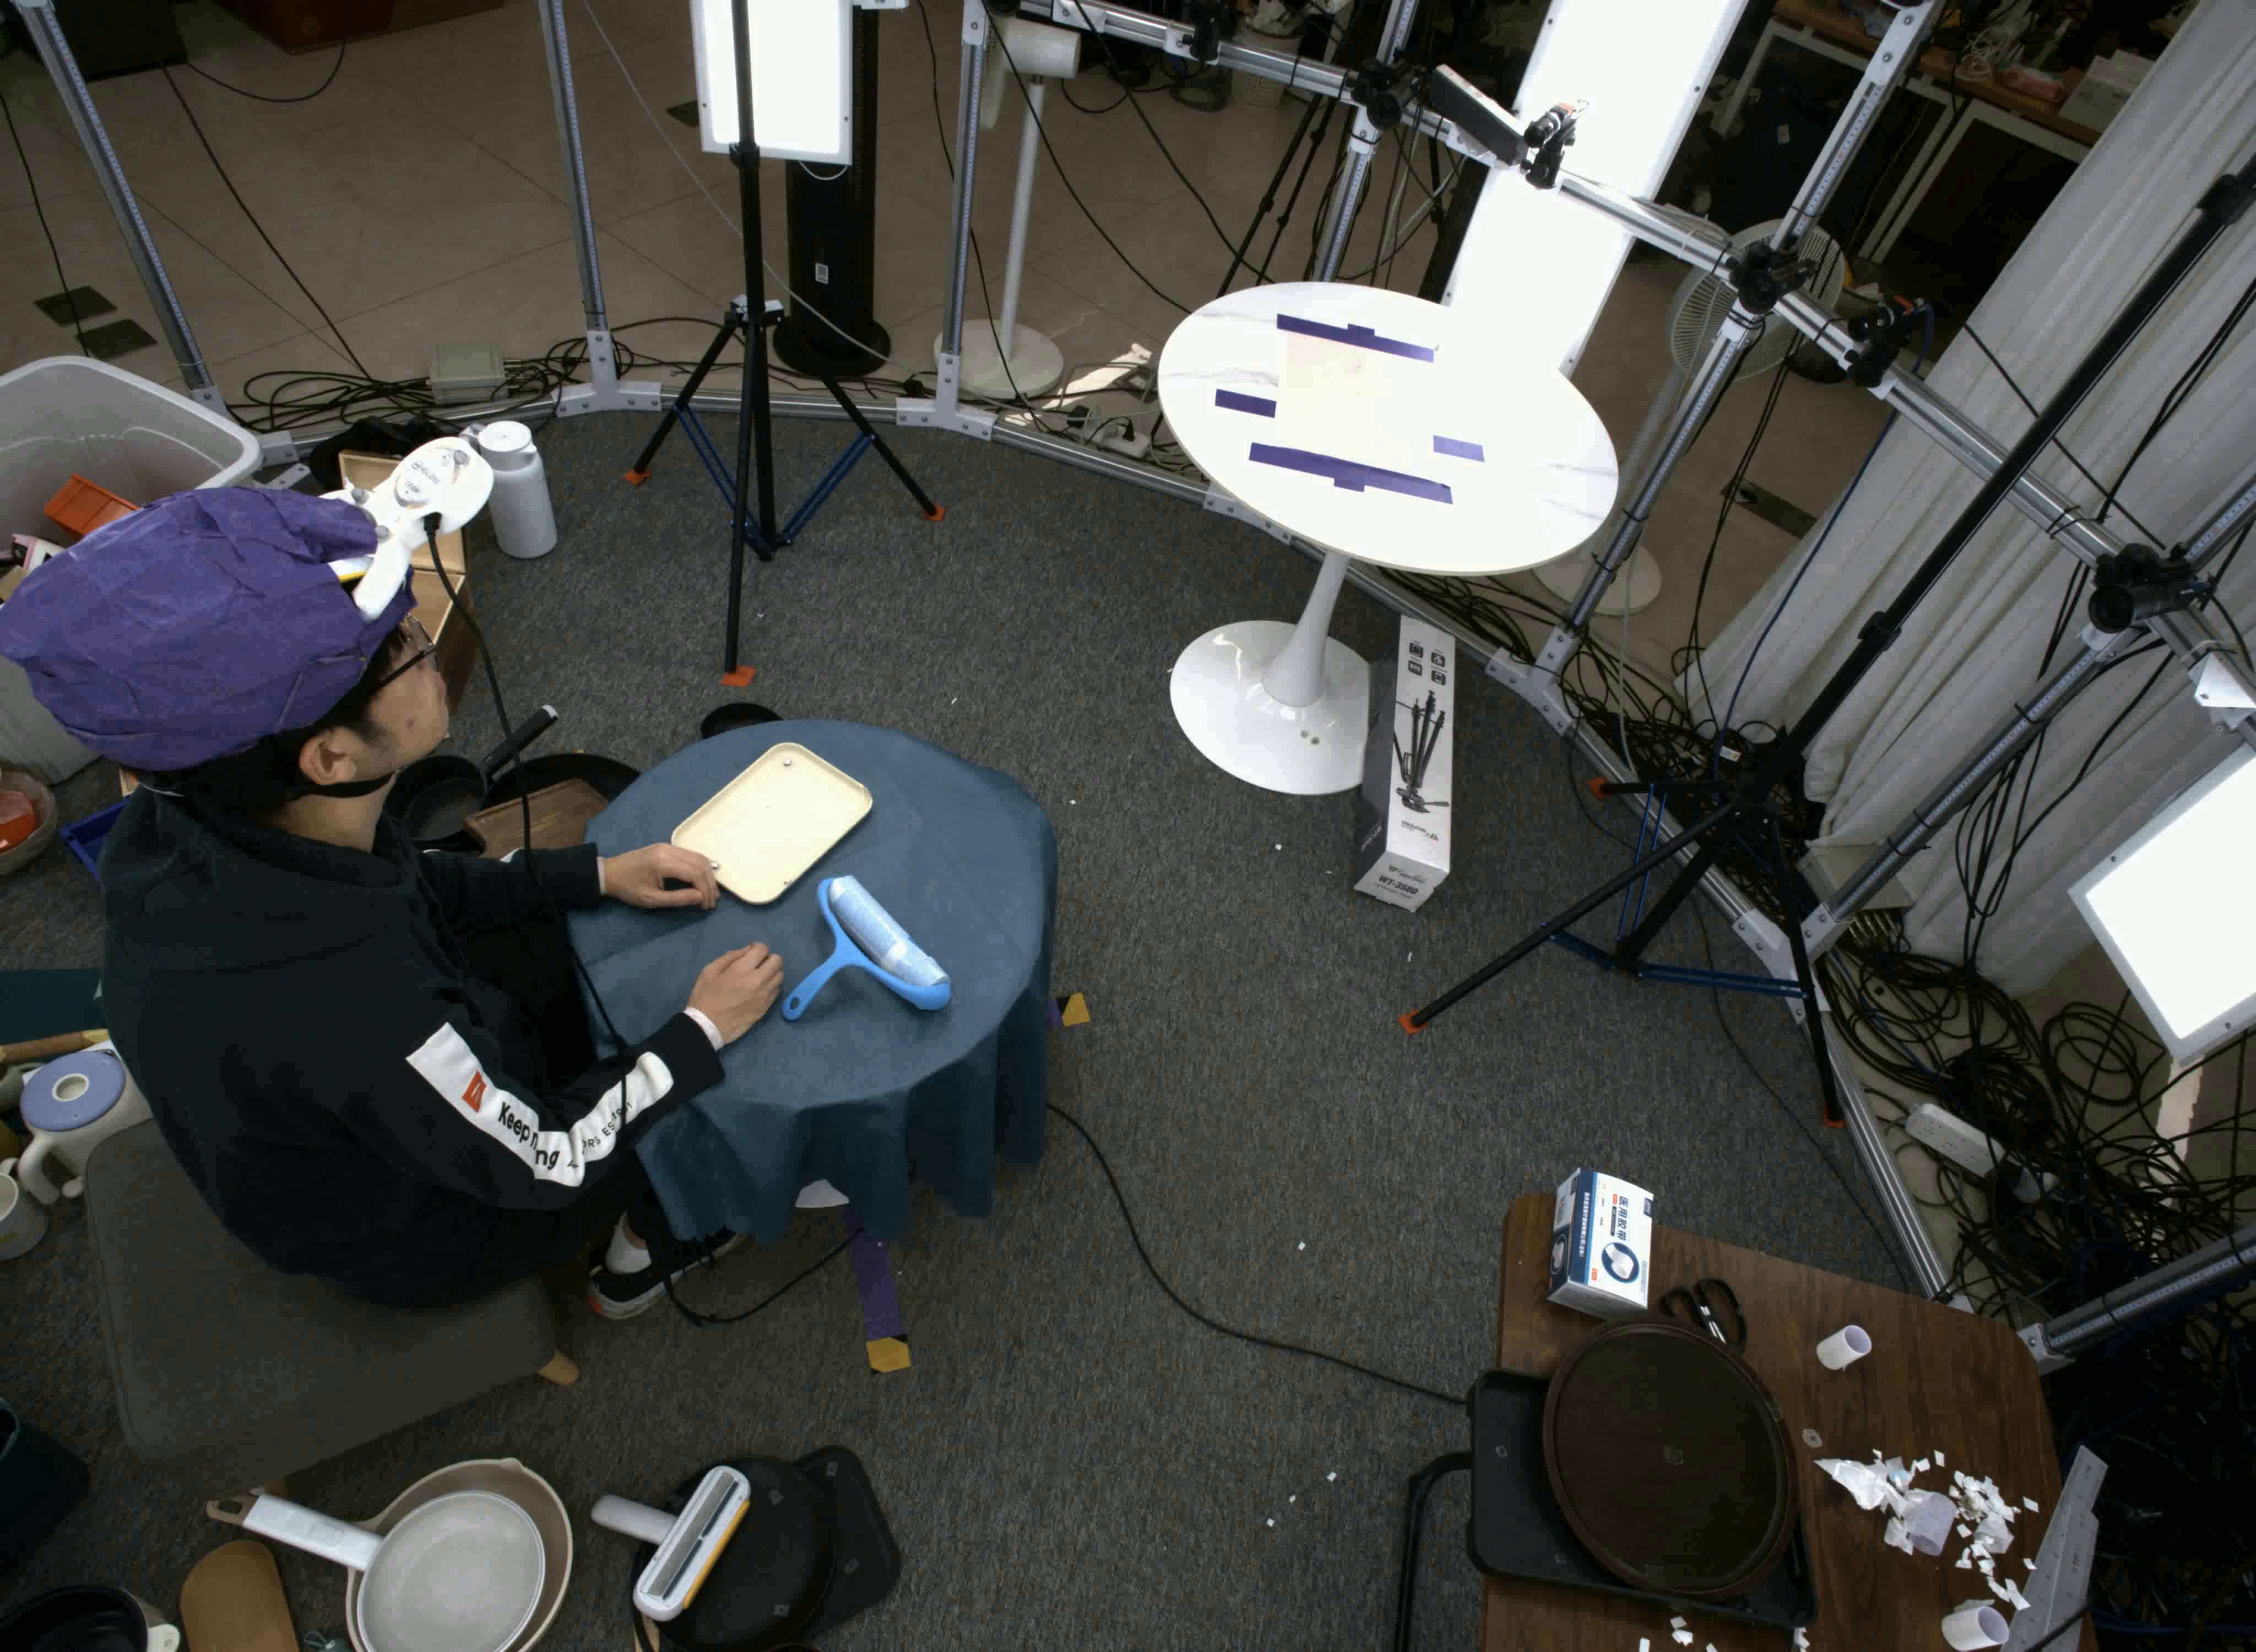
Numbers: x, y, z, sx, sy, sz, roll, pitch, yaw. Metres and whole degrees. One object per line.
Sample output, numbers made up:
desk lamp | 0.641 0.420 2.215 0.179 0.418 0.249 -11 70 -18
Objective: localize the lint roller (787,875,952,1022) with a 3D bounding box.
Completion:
lint roller | -0.341 0.169 1.590 0.224 0.069 0.180 41 54 15

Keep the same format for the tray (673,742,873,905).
tray | -0.467 -0.007 1.712 0.168 0.018 0.239 32 53 10
